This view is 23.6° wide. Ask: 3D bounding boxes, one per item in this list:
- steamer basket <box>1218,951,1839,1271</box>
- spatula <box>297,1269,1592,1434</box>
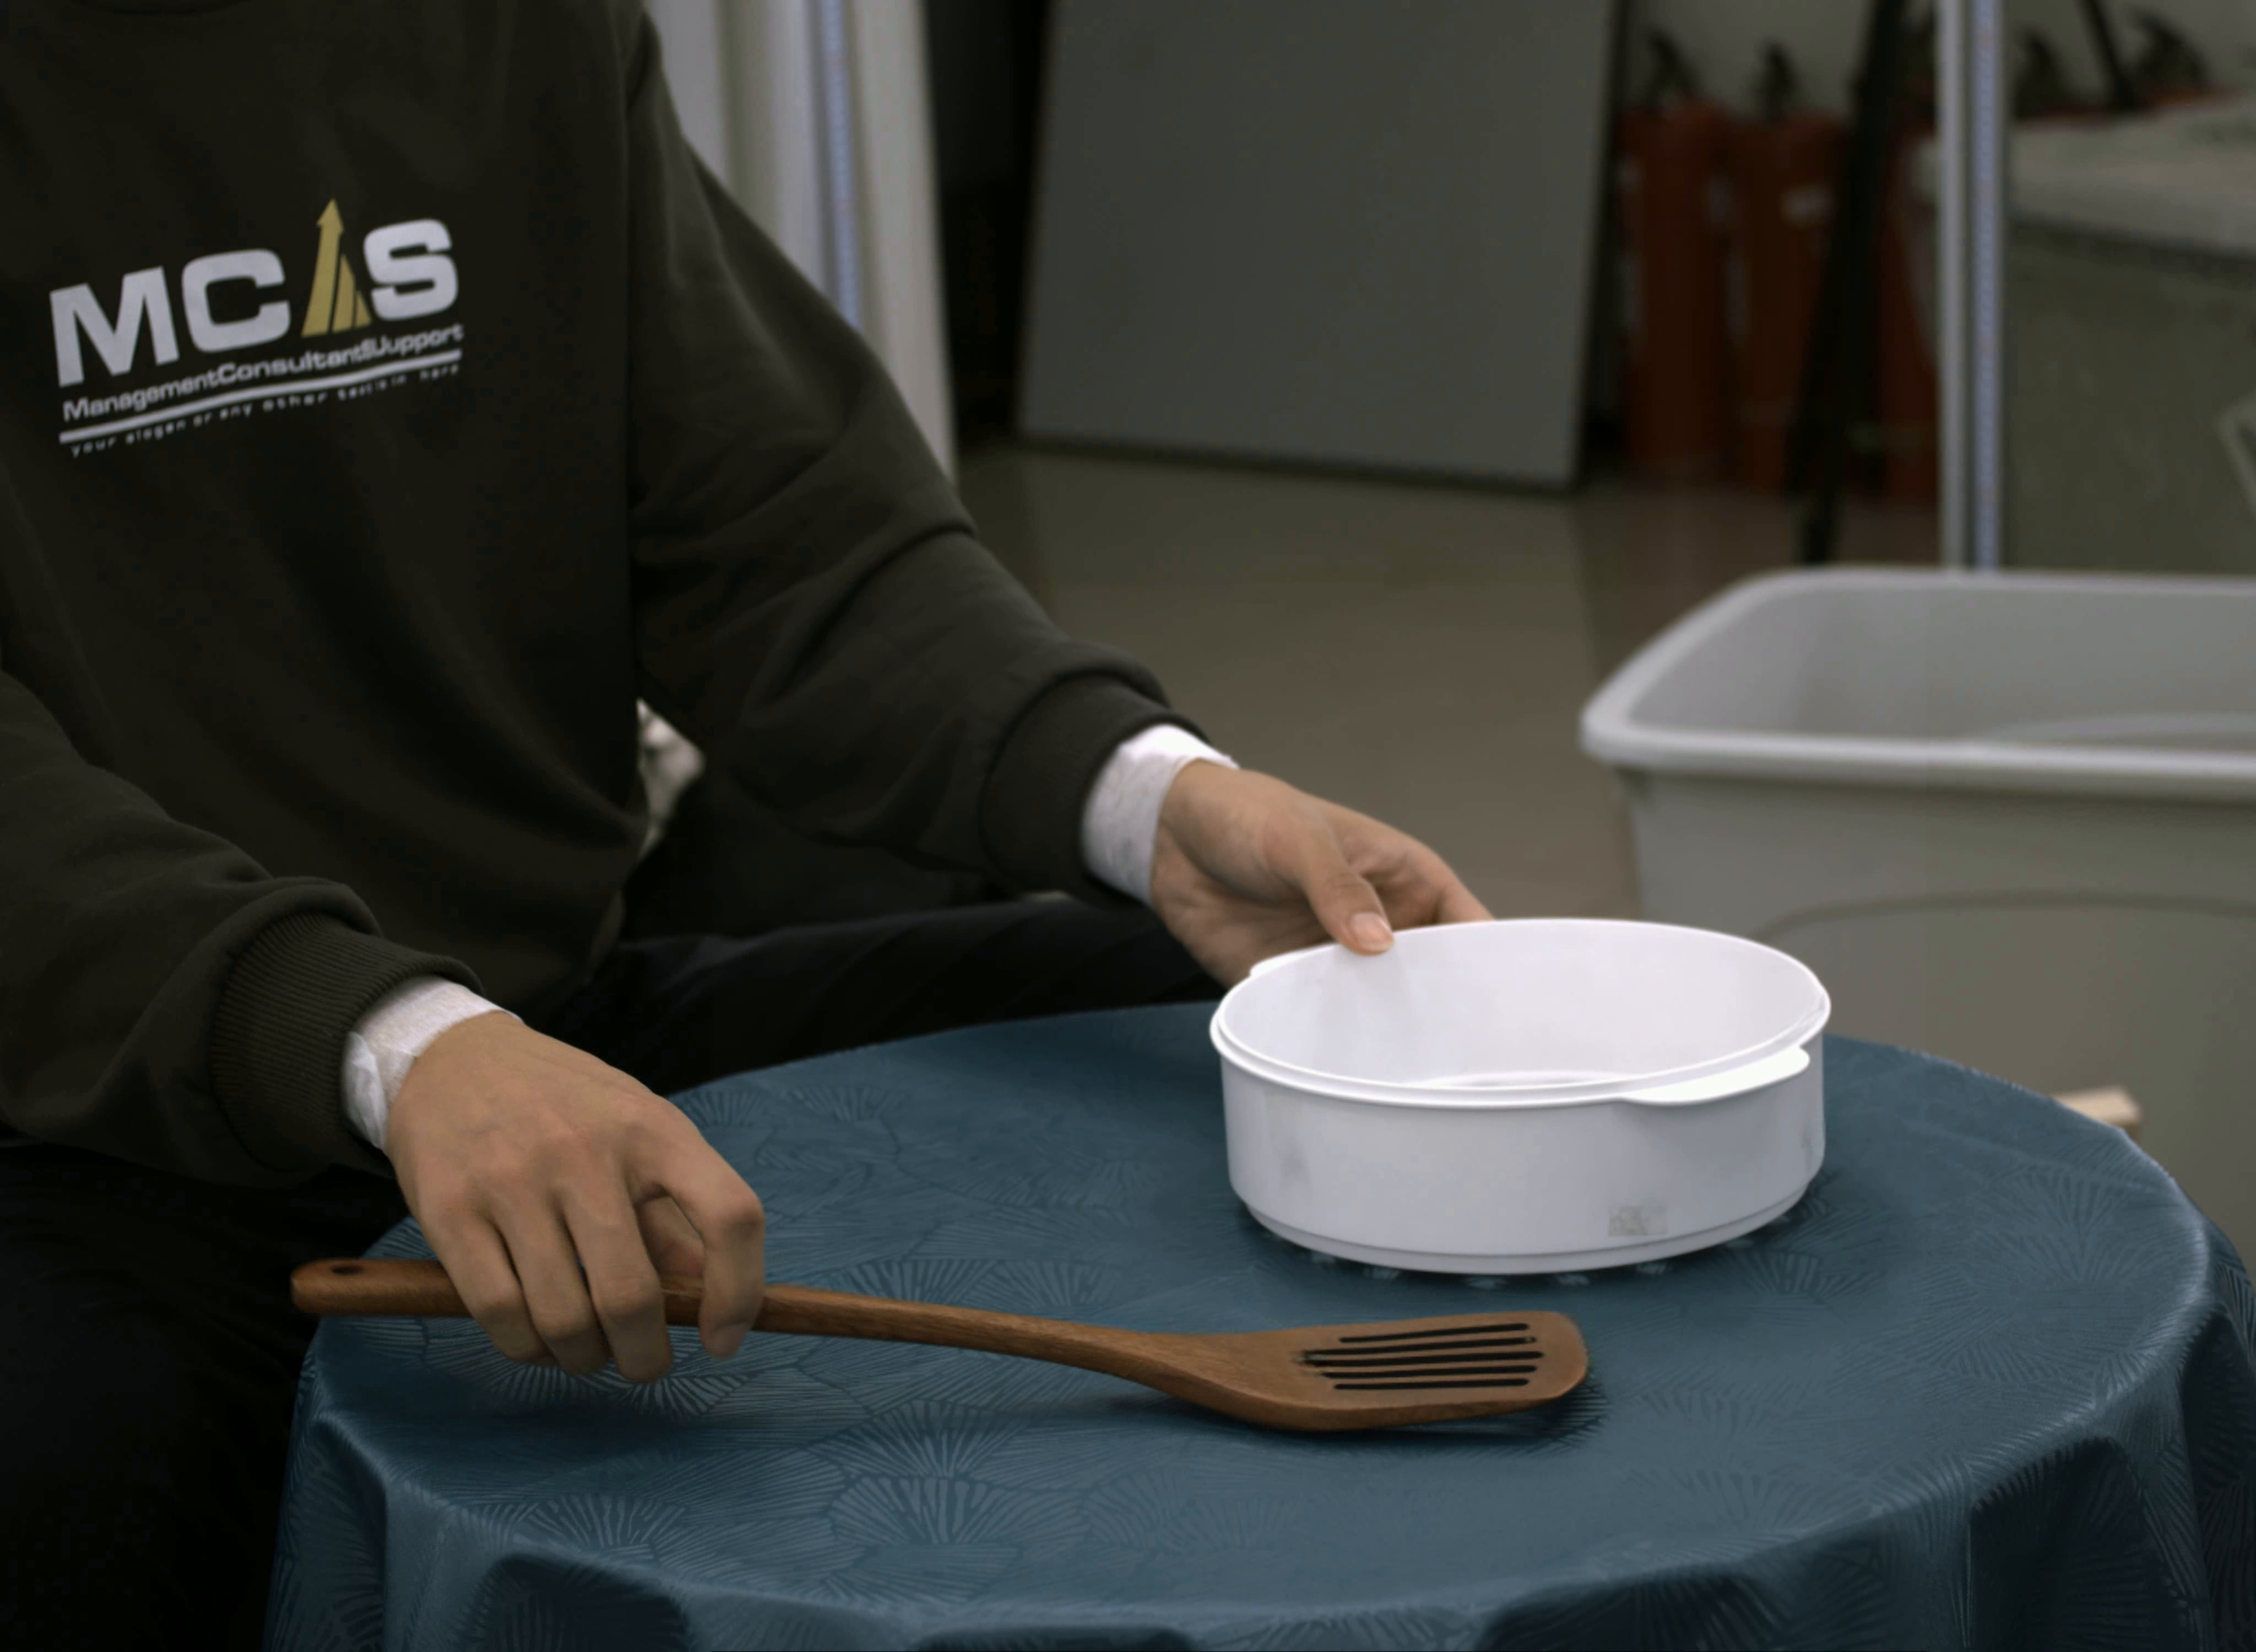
[{"bbox_3d":[0.130,0.091,1.728,0.197,0.070,0.233,-10,11,-33],"label":"steamer basket"},{"bbox_3d":[-0.055,0.151,1.576,0.381,0.024,0.085,3,13,6],"label":"spatula"}]
